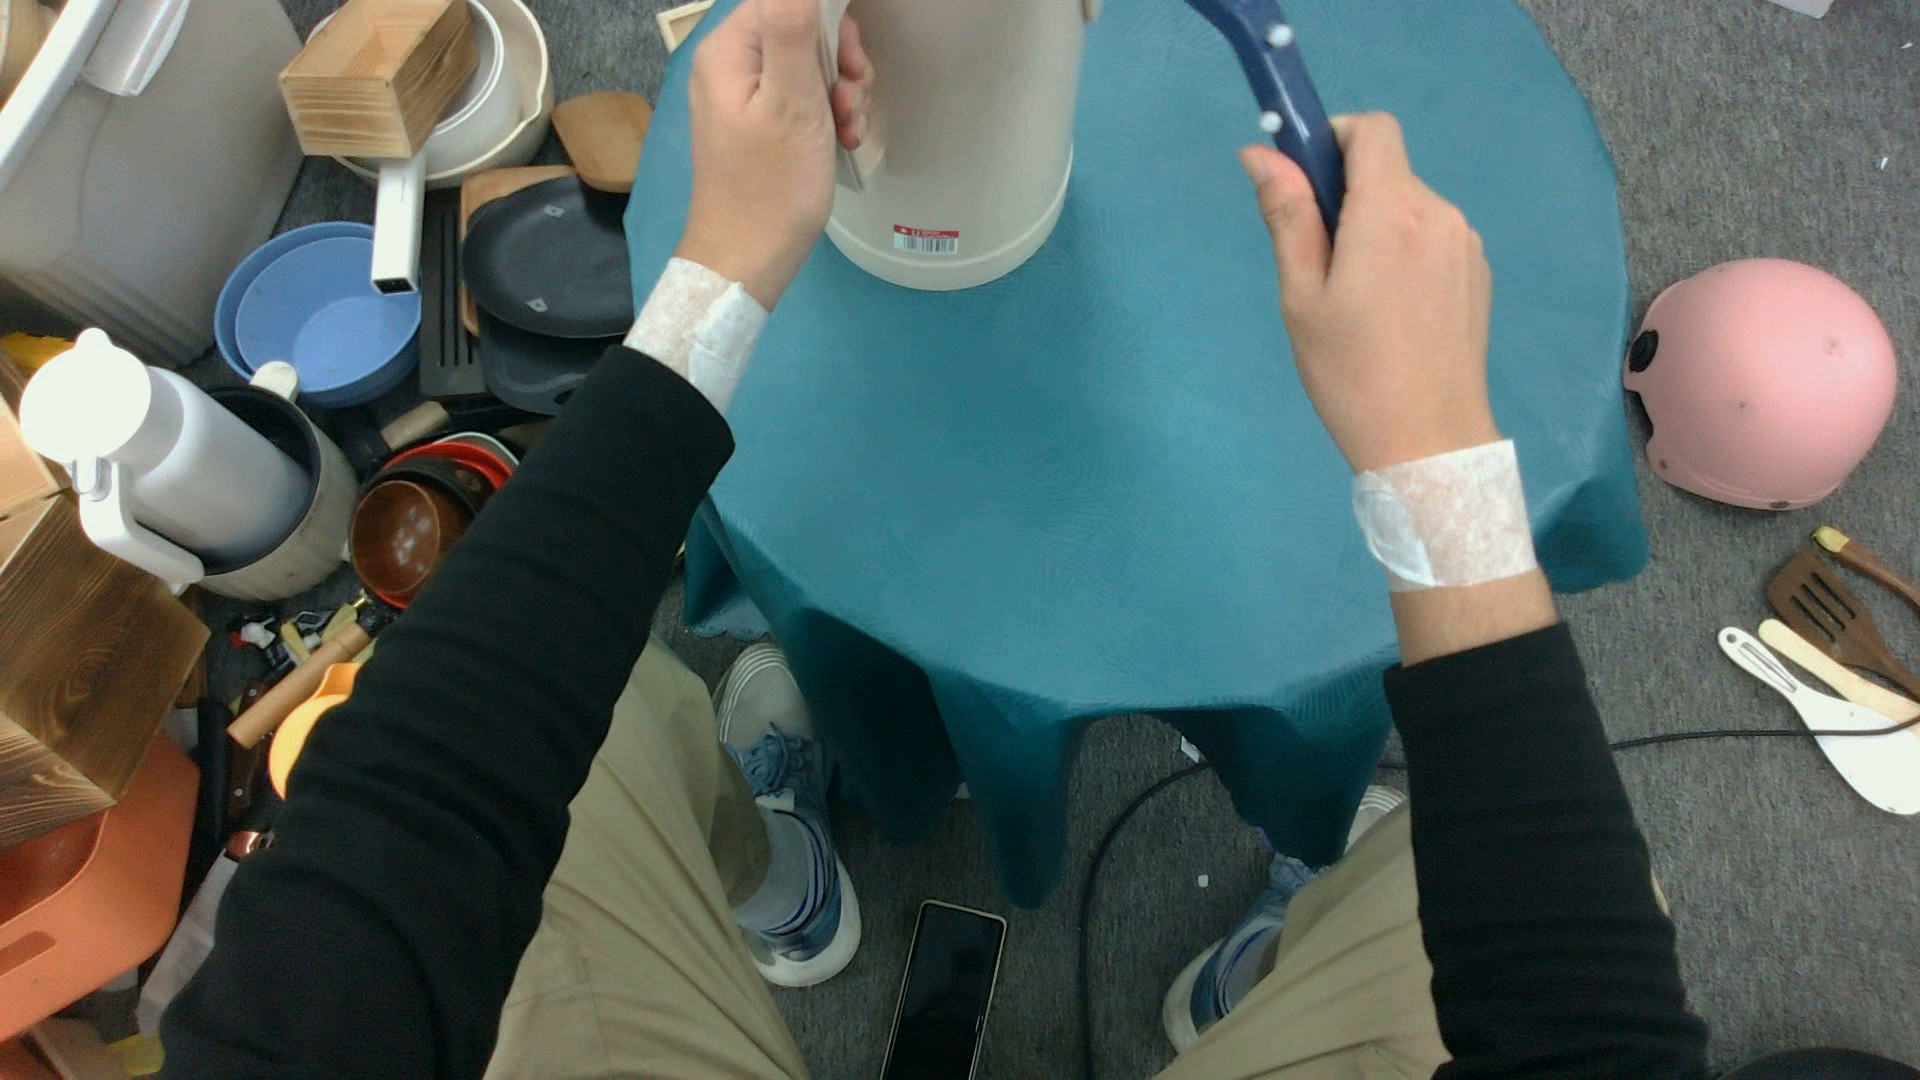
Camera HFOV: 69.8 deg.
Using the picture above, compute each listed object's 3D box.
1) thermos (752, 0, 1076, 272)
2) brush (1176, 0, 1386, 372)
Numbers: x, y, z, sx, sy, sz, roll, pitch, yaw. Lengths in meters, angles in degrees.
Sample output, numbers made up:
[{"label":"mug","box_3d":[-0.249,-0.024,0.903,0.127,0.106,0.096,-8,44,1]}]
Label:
[{"label":"thermos","box_3d":[-0.031,-0.278,0.646,0.175,0.405,0.207,25,74,5]},{"label":"brush","box_3d":[0.110,-0.188,0.521,0.273,0.095,0.033,52,54,-14]}]
